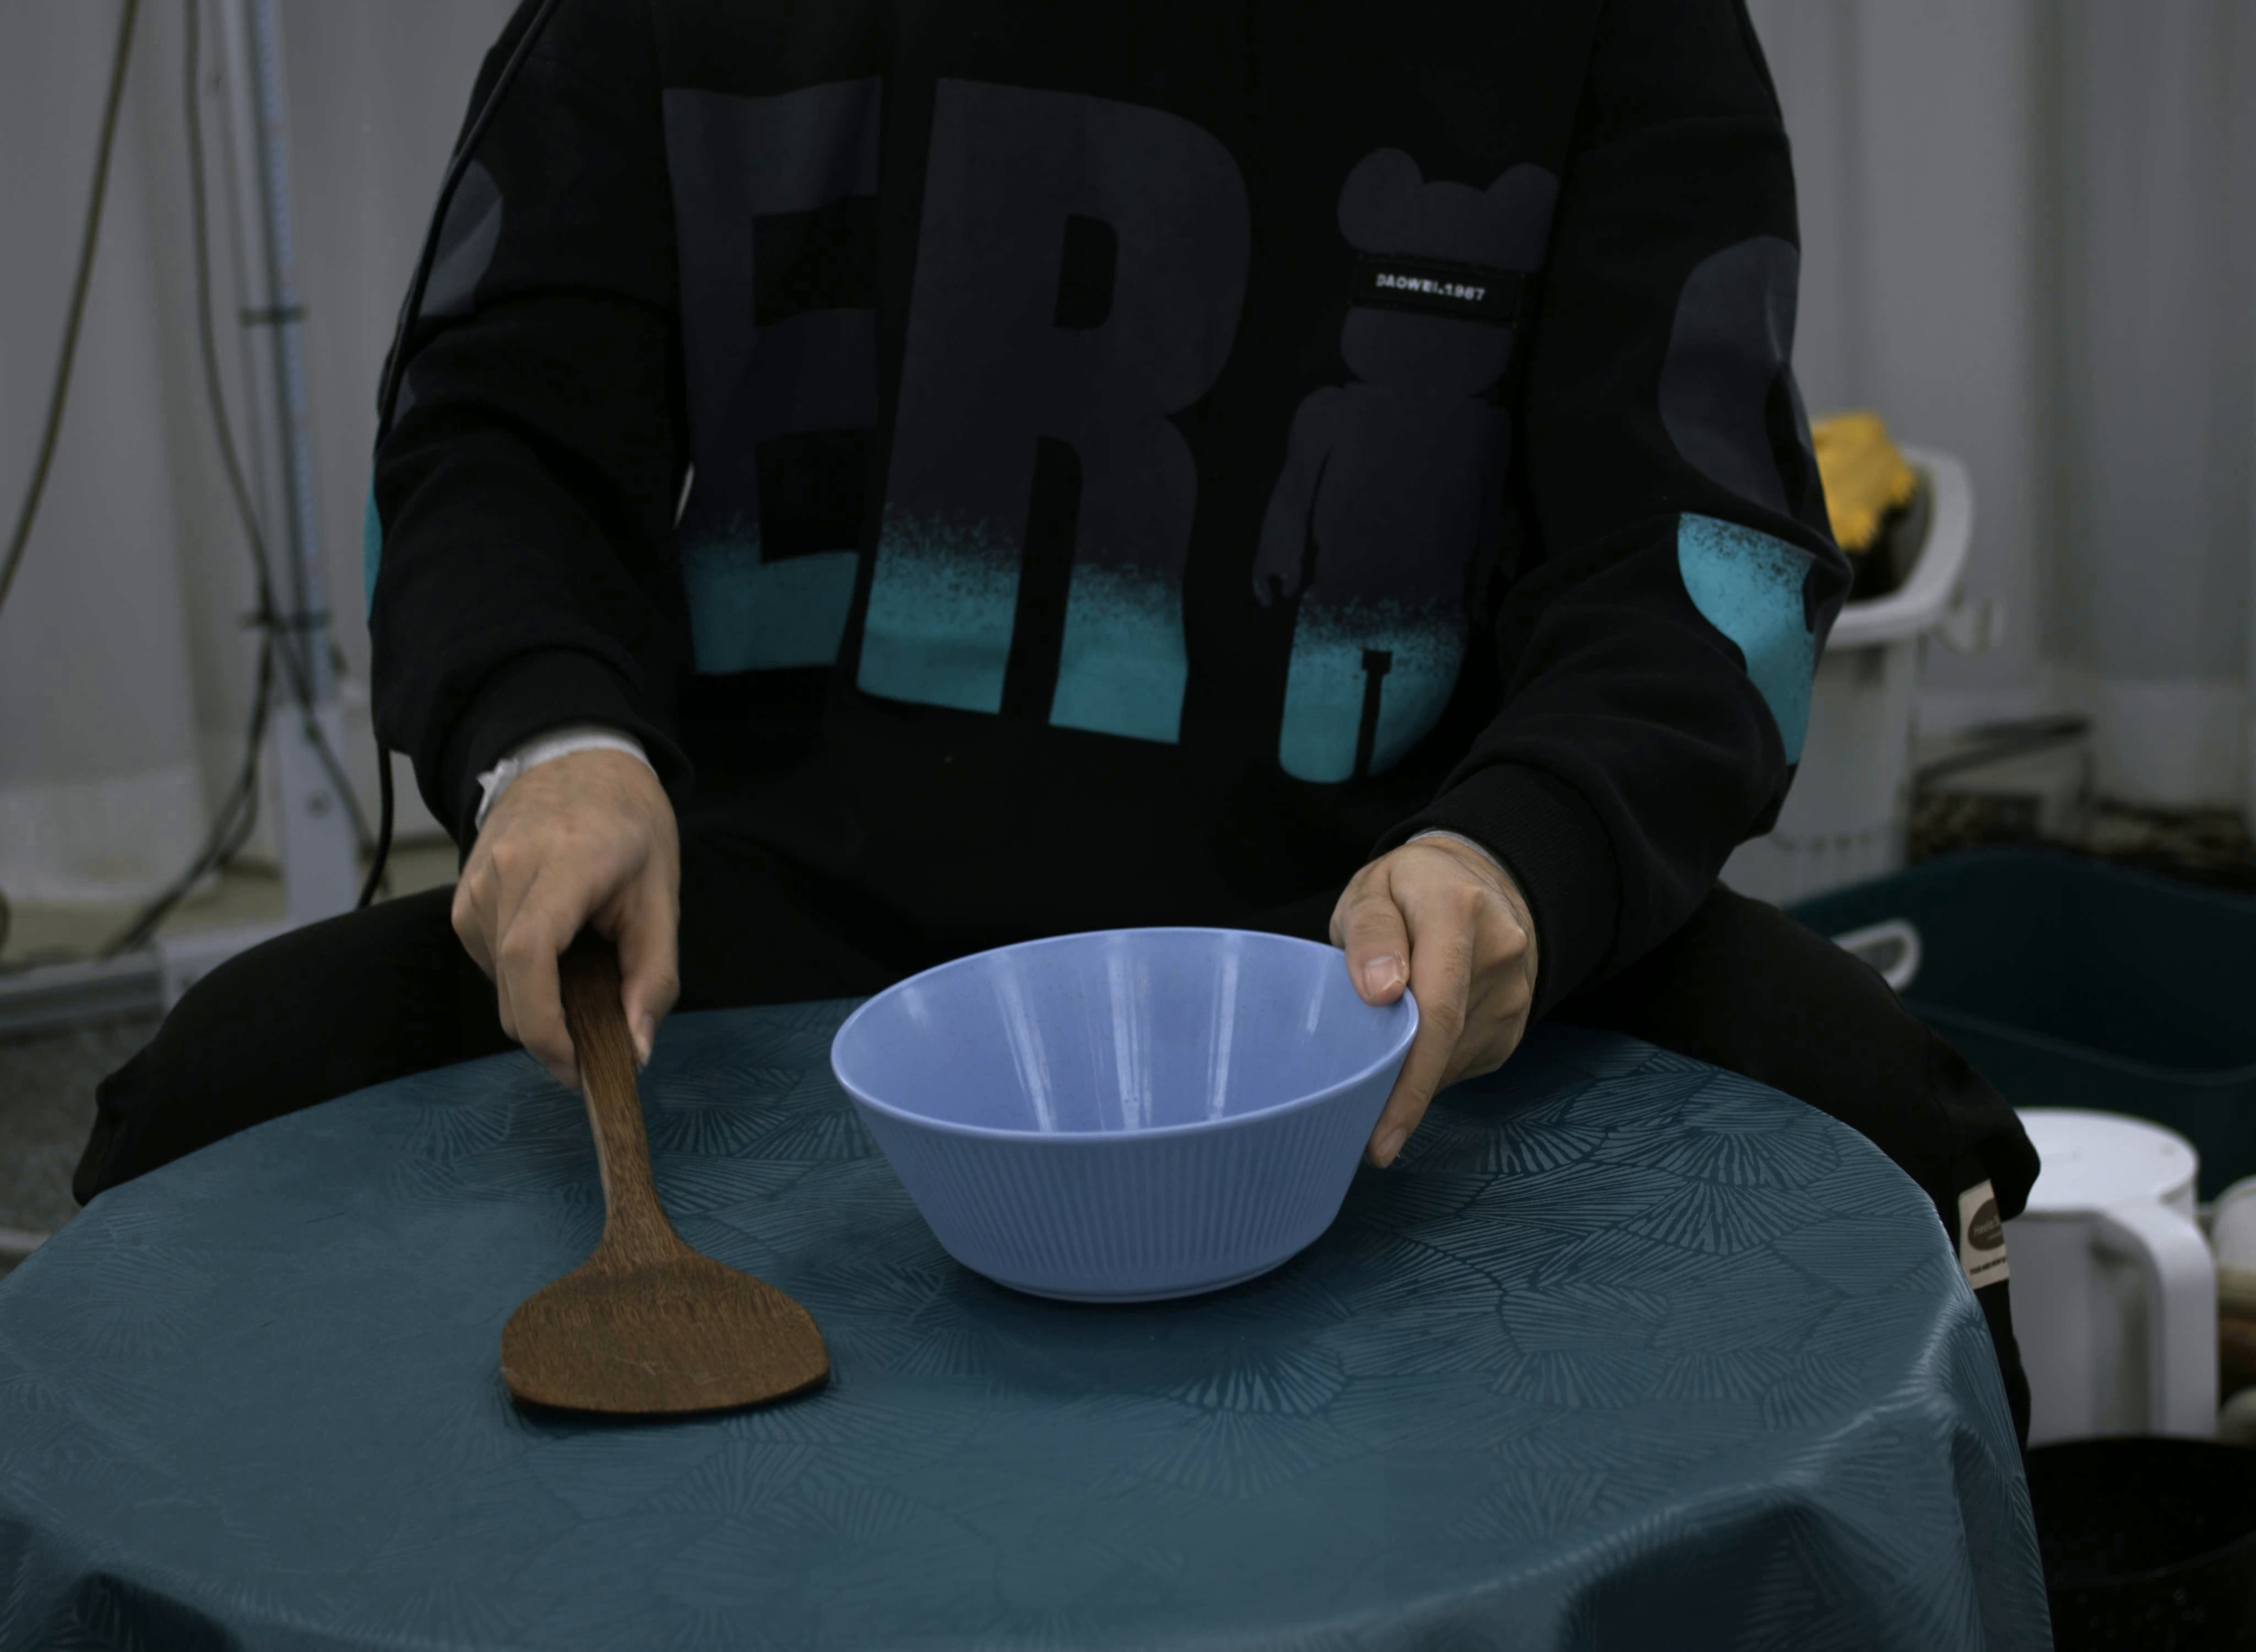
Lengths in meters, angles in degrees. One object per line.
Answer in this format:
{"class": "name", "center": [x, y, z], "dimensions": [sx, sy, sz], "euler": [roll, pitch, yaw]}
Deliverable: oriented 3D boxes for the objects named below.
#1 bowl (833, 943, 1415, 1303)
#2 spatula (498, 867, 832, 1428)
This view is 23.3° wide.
{"class": "bowl", "center": [0.000, 0.092, 1.645], "dimensions": [0.175, 0.070, 0.177], "euler": [-3, 17, 1]}
{"class": "spatula", "center": [-0.160, 0.091, 1.711], "dimensions": [0.095, 0.015, 0.390], "euler": [-3, 24, -9]}
